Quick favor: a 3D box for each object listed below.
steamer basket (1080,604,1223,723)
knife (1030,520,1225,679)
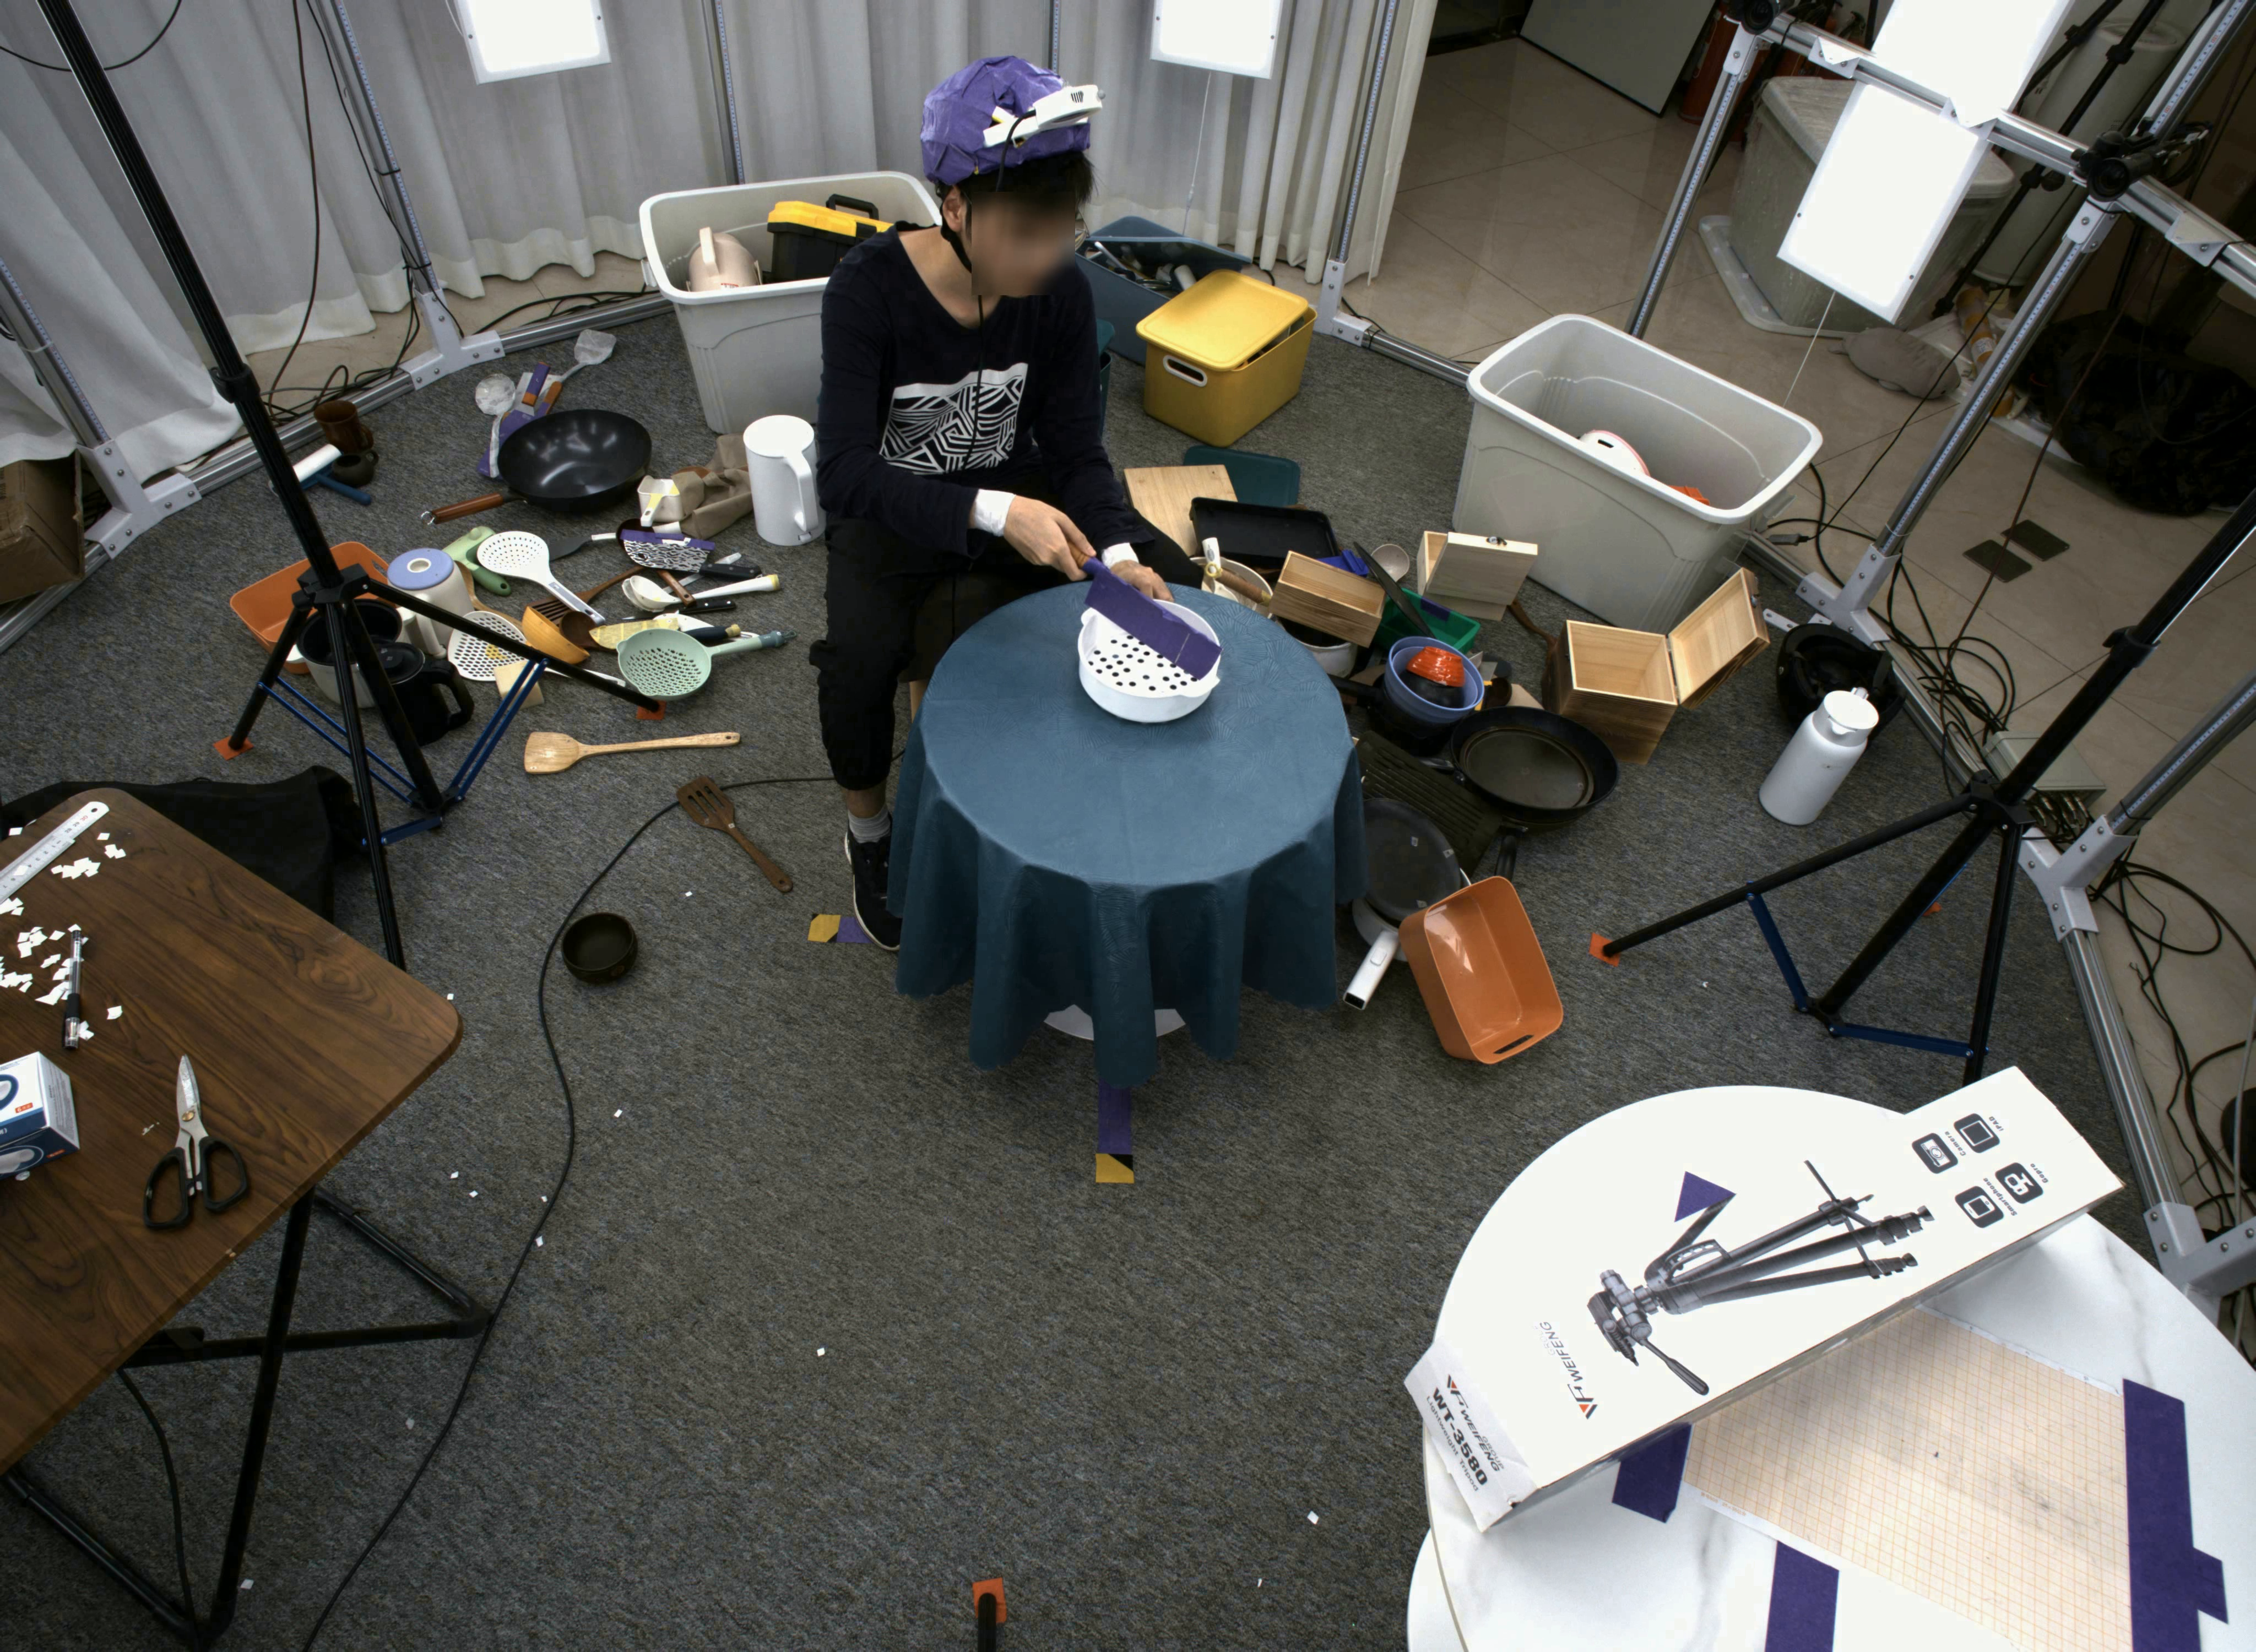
[{"bbox_3d":[0.032,-0.230,1.828,0.234,0.067,0.204,36,55,28],"label":"steamer basket"},{"bbox_3d":[-0.009,-0.309,1.795,0.316,0.102,0.032,36,58,6],"label":"knife"}]
